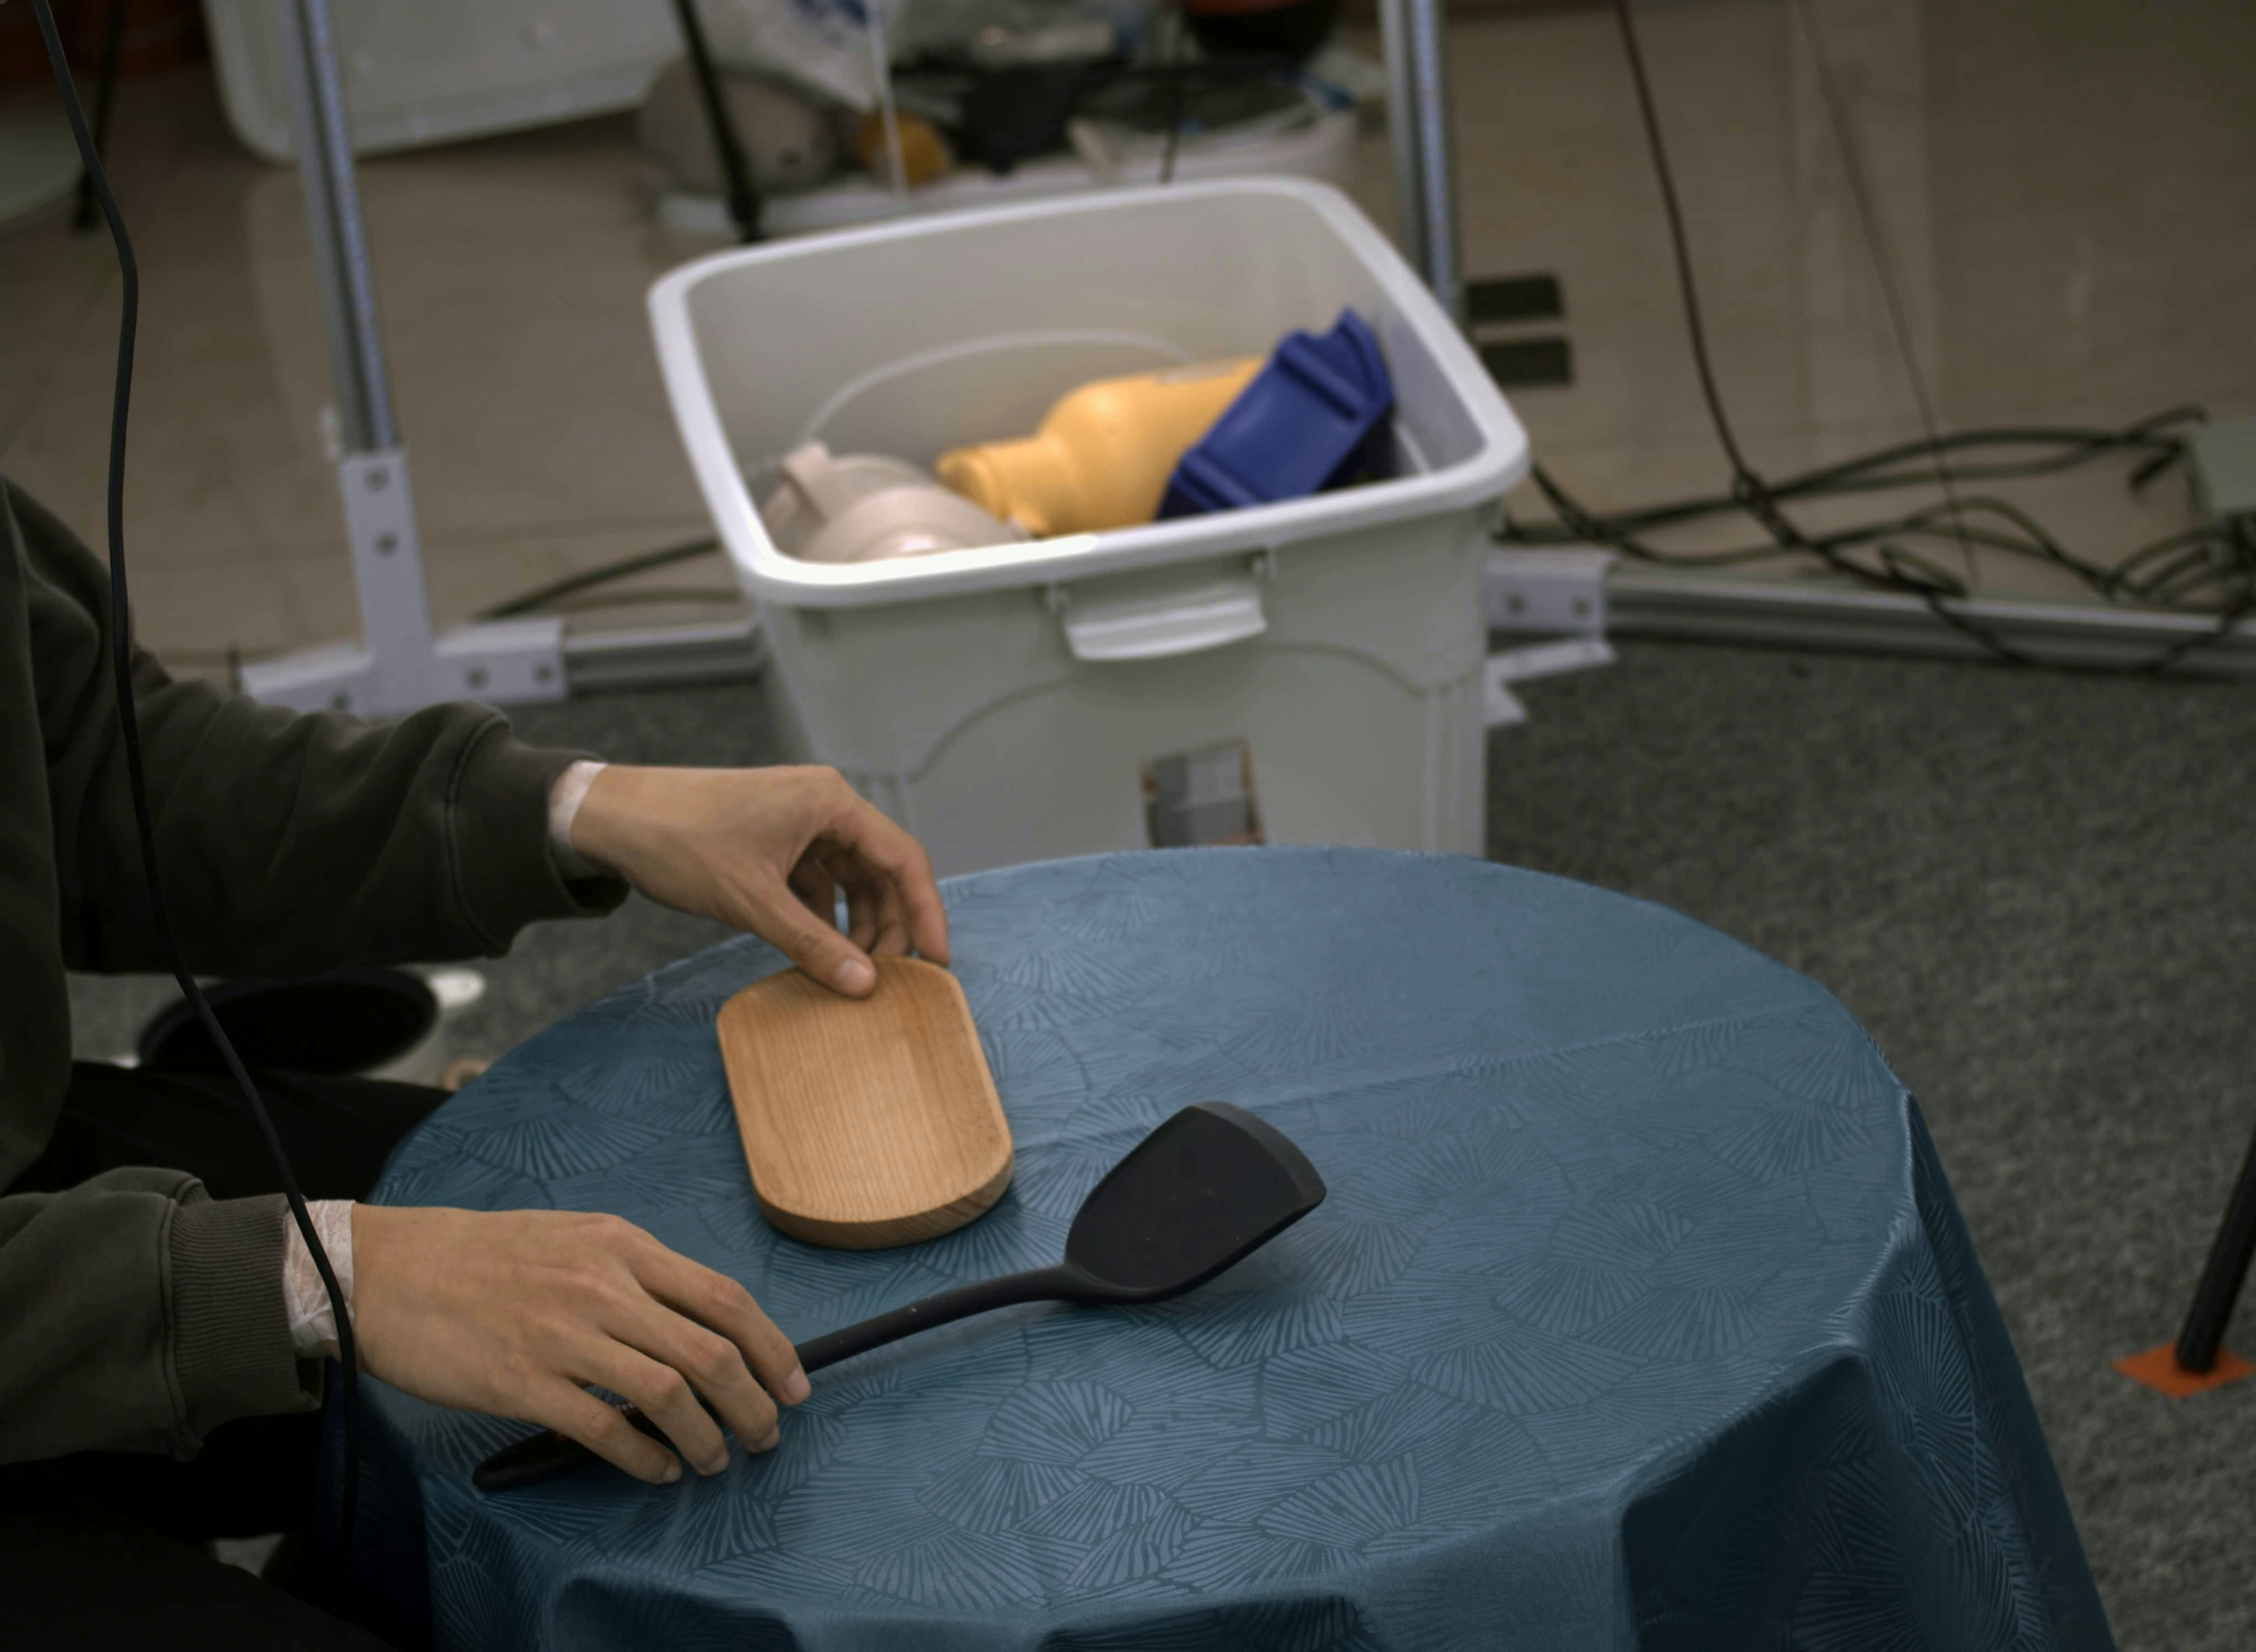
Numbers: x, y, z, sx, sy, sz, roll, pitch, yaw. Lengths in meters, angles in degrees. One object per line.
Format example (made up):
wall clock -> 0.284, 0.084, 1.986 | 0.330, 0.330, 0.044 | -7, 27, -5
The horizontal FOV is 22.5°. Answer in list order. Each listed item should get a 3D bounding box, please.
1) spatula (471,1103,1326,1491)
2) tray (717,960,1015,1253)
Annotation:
spatula -> -0.086, 0.176, 2.047 | 0.325, 0.041, 0.098 | -16, 25, -20
tray -> -0.104, 0.108, 2.221 | 0.101, 0.020, 0.228 | -10, 26, -6
